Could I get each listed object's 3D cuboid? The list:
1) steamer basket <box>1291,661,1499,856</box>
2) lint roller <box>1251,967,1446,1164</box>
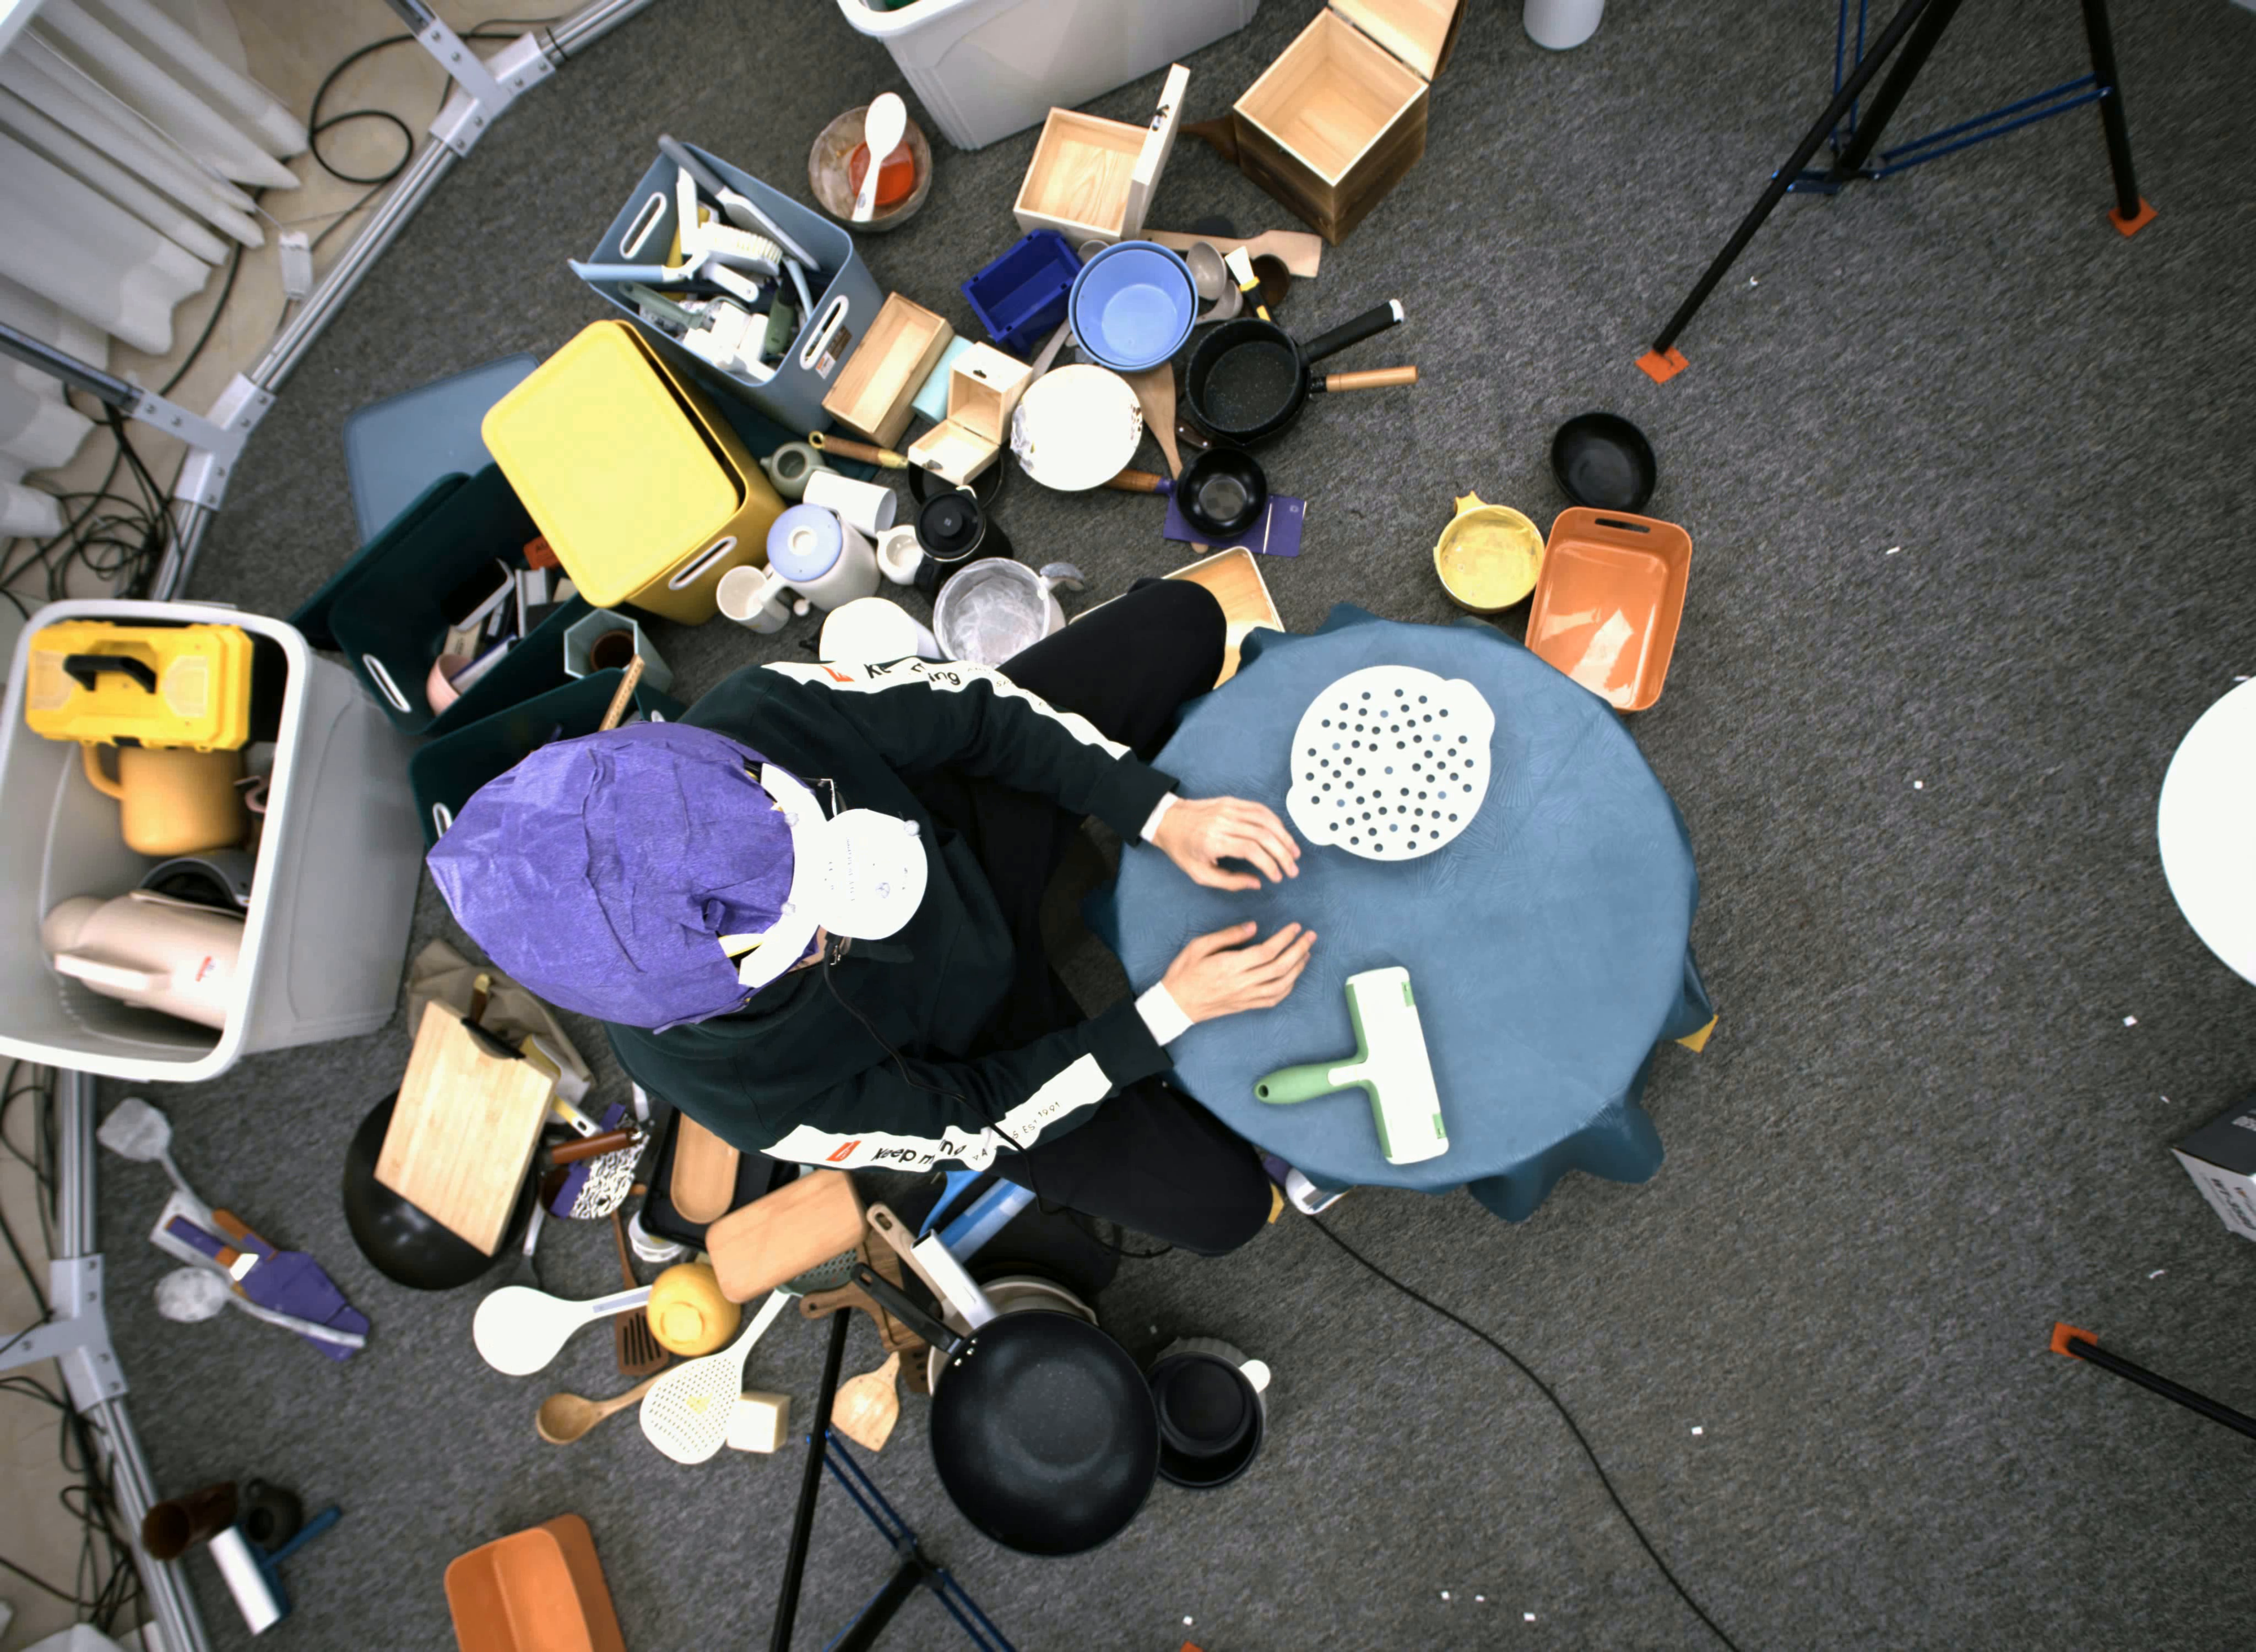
[{"bbox_3d":[0.275,-0.068,1.427,0.231,0.069,0.201,-35,82,5],"label":"steamer basket"},{"bbox_3d":[0.216,0.255,1.417,0.184,0.082,0.197,-12,85,5],"label":"lint roller"}]
